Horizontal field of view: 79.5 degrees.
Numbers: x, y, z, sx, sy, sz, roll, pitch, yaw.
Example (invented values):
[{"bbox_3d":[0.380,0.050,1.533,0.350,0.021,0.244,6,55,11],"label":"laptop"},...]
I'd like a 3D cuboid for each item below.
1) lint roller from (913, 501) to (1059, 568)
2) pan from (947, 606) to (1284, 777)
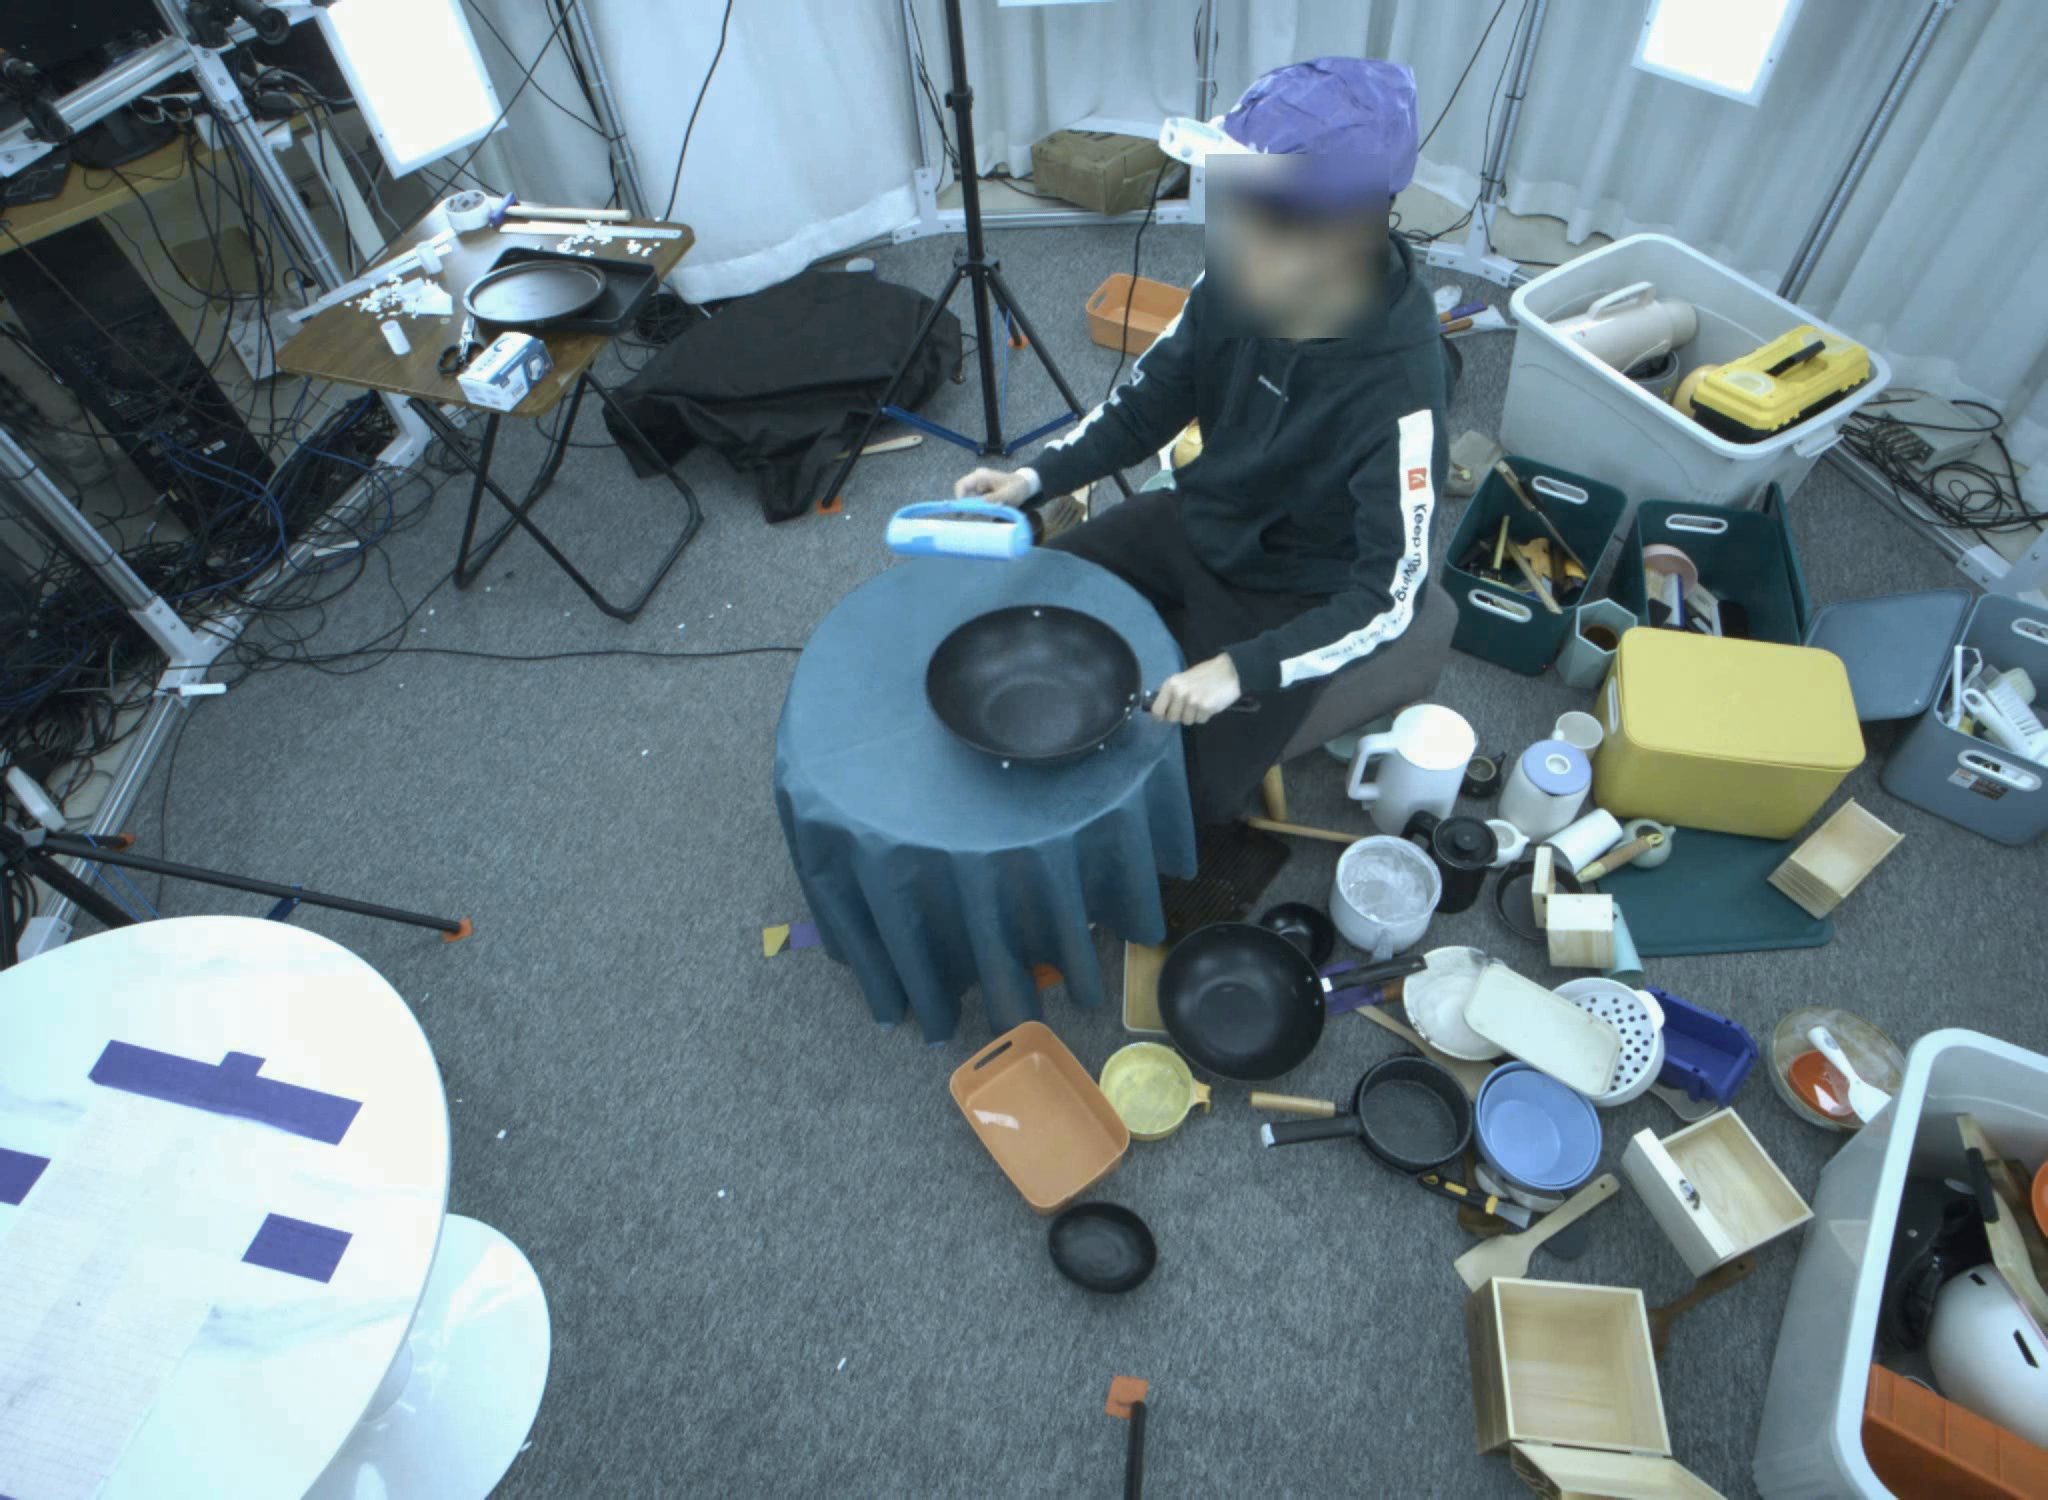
[{"bbox_3d":[-0.035,-0.332,1.789,0.225,0.069,0.180,8,40,21],"label":"lint roller"},{"bbox_3d":[0.126,-0.060,1.750,0.473,0.113,0.309,12,53,10],"label":"pan"}]
